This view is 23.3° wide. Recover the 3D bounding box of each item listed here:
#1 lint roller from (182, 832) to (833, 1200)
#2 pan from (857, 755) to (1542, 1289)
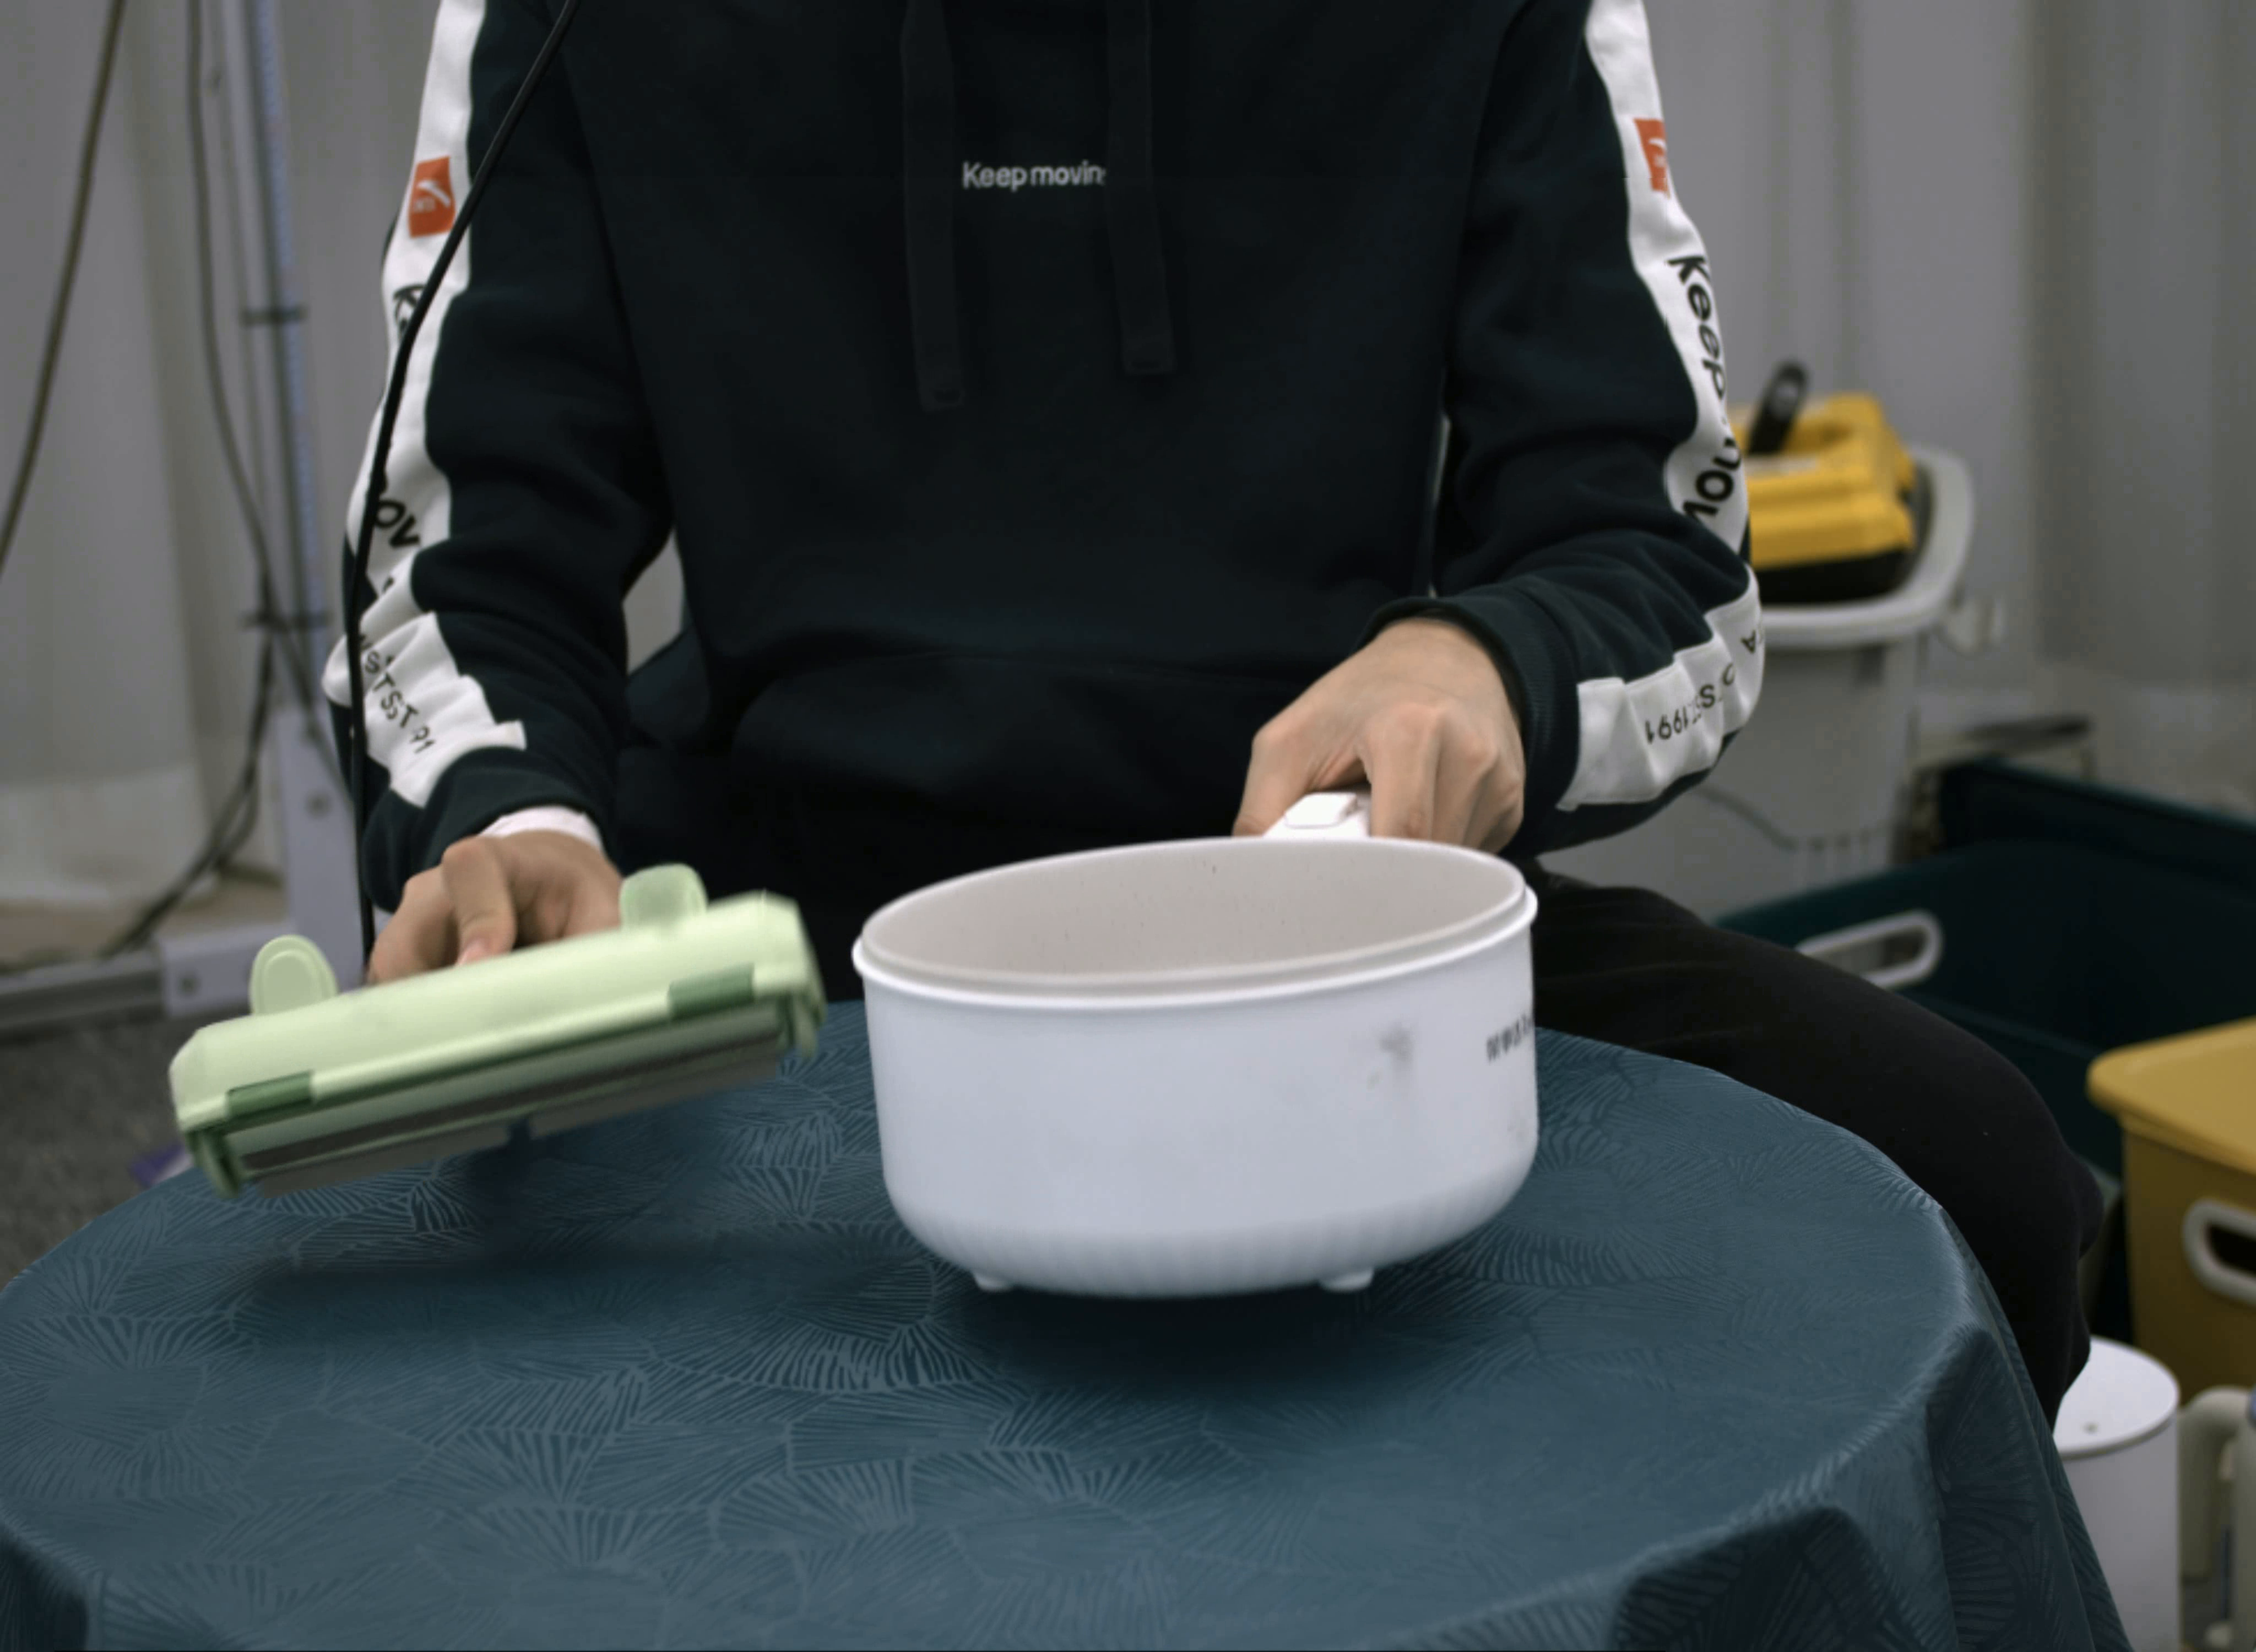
[{"bbox_3d":[-0.196,0.045,1.724,0.198,0.082,0.184,-15,15,-2],"label":"lint roller"},{"bbox_3d":[0.045,0.056,1.678,0.201,0.102,0.355,-2,10,17],"label":"pan"}]
